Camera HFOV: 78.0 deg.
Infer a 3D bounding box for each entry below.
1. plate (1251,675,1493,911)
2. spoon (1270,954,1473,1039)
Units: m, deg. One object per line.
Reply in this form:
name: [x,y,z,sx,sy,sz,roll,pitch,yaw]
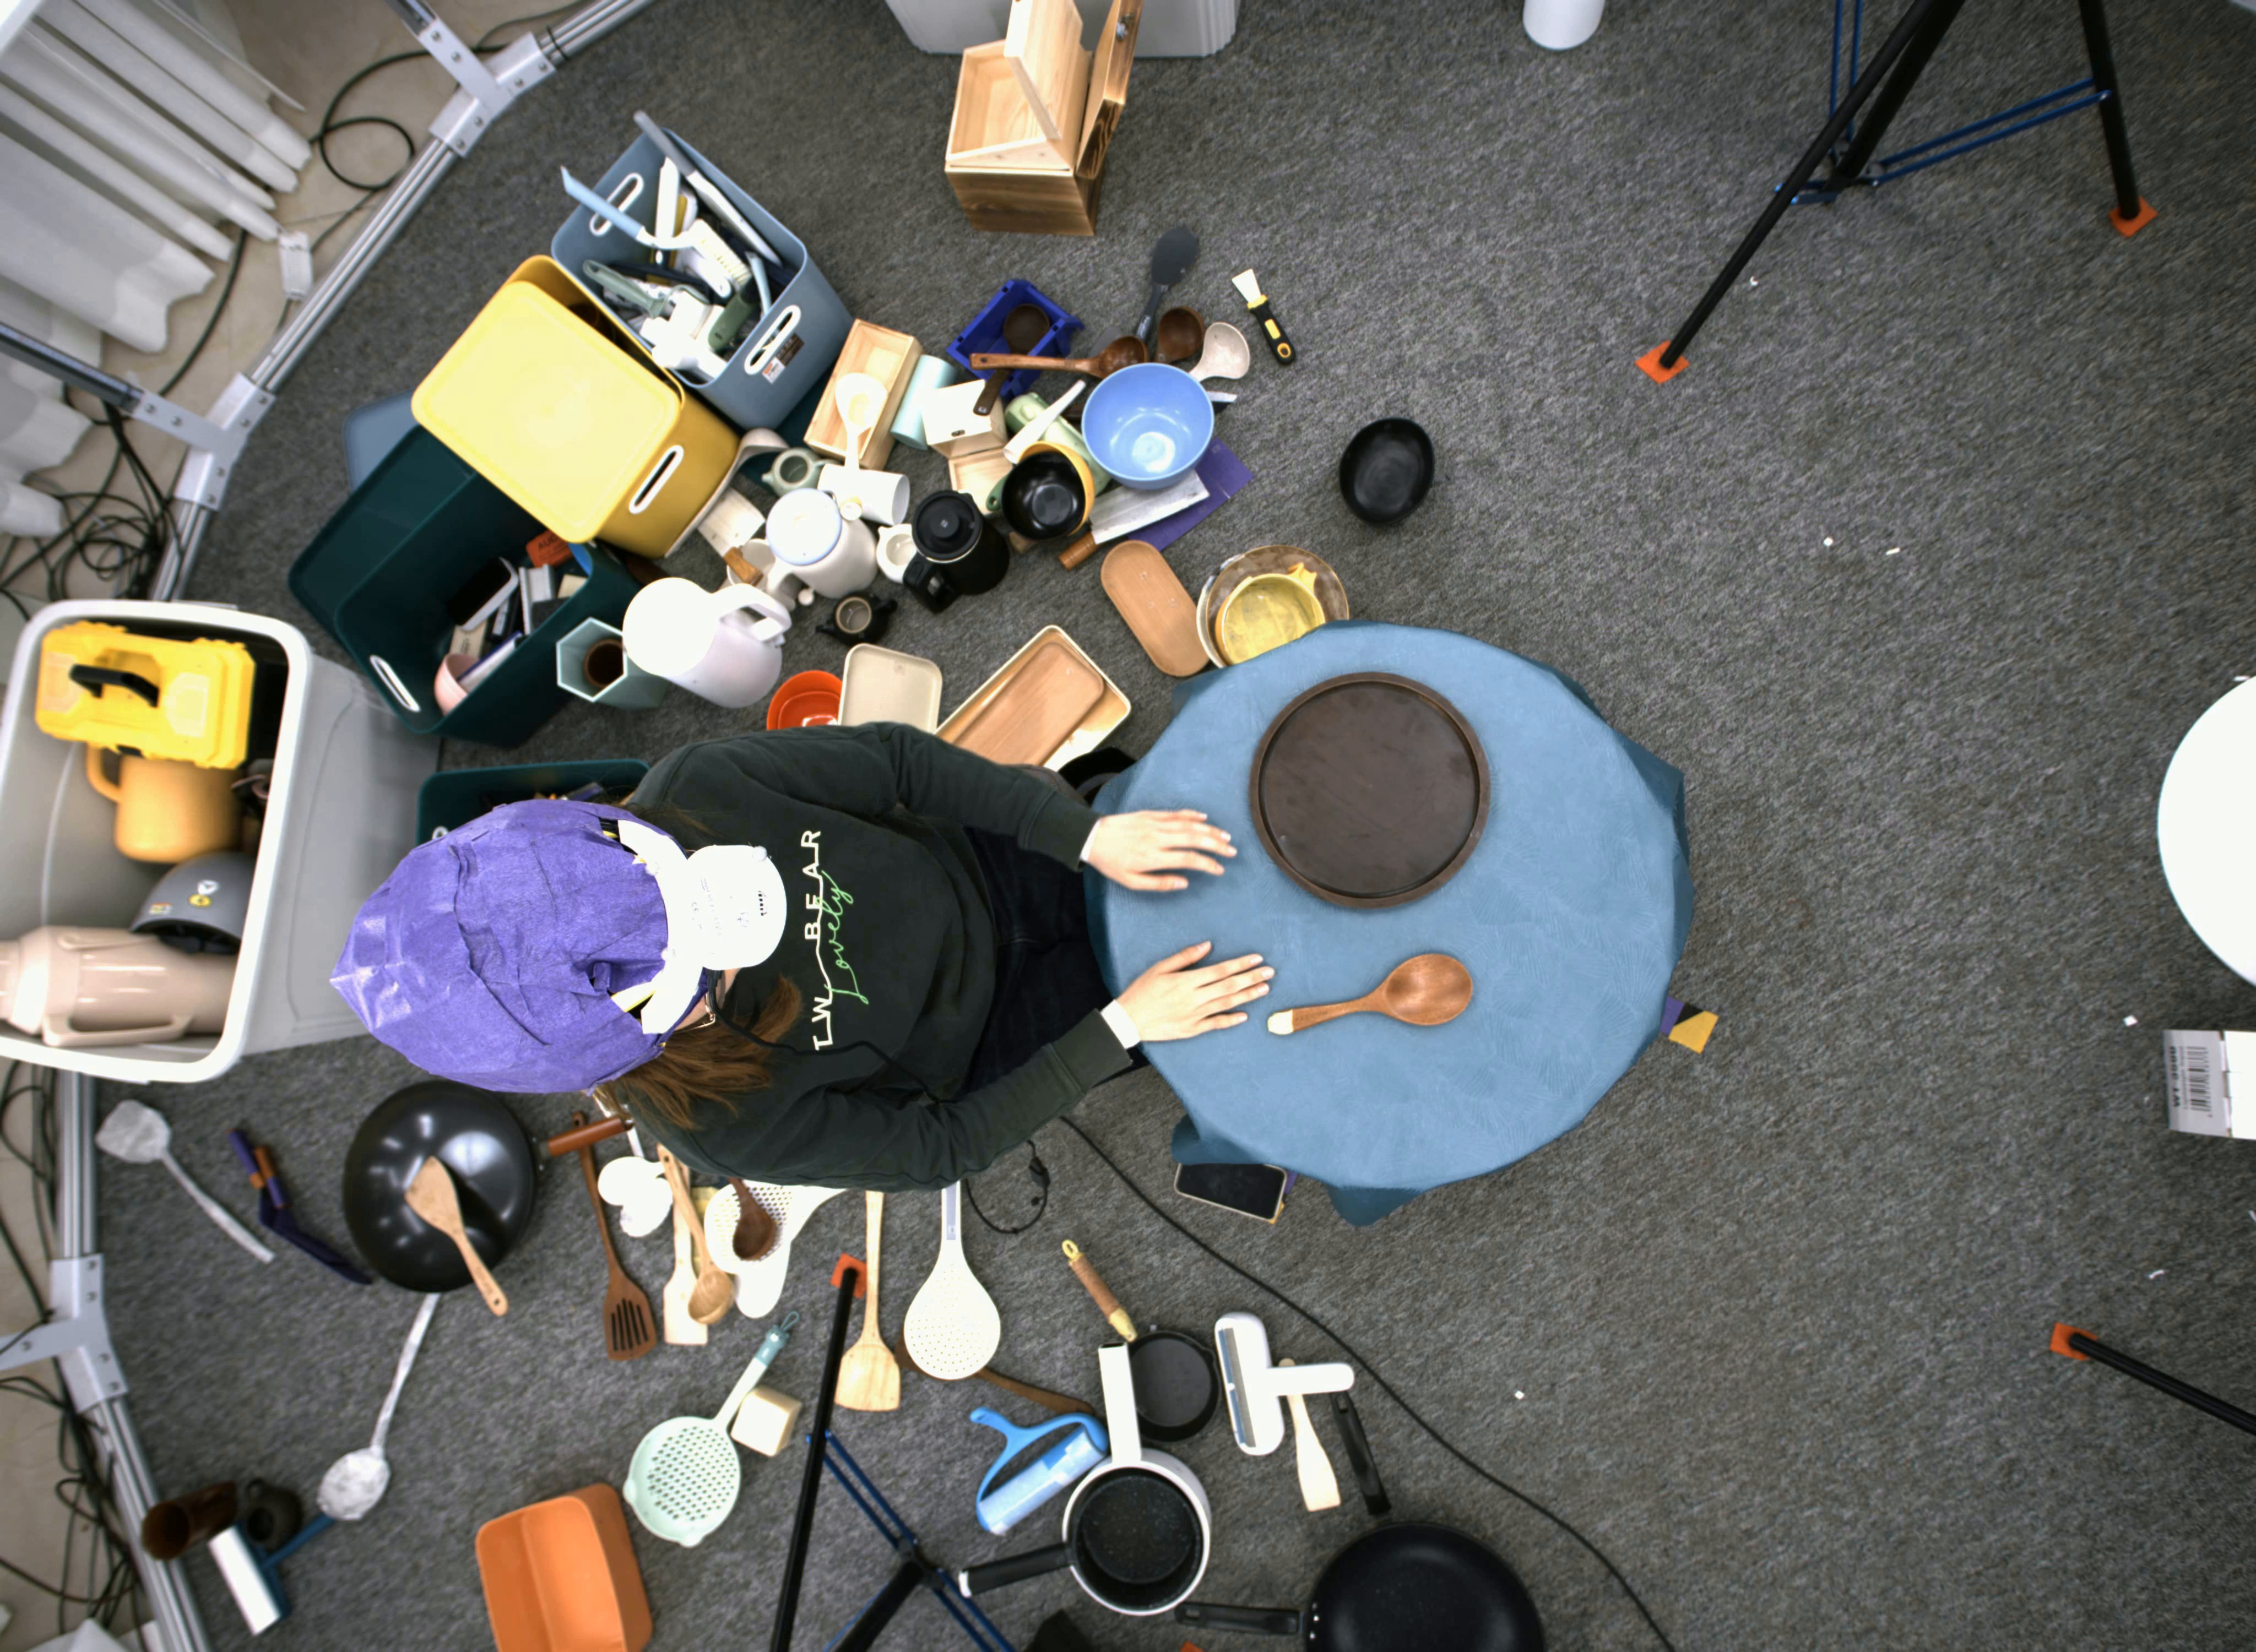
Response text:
plate: [0.257,-0.036,1.463,0.256,0.029,0.253,-1,85,9]
spoon: [0.254,0.187,1.451,0.217,0.017,0.075,-15,84,9]
